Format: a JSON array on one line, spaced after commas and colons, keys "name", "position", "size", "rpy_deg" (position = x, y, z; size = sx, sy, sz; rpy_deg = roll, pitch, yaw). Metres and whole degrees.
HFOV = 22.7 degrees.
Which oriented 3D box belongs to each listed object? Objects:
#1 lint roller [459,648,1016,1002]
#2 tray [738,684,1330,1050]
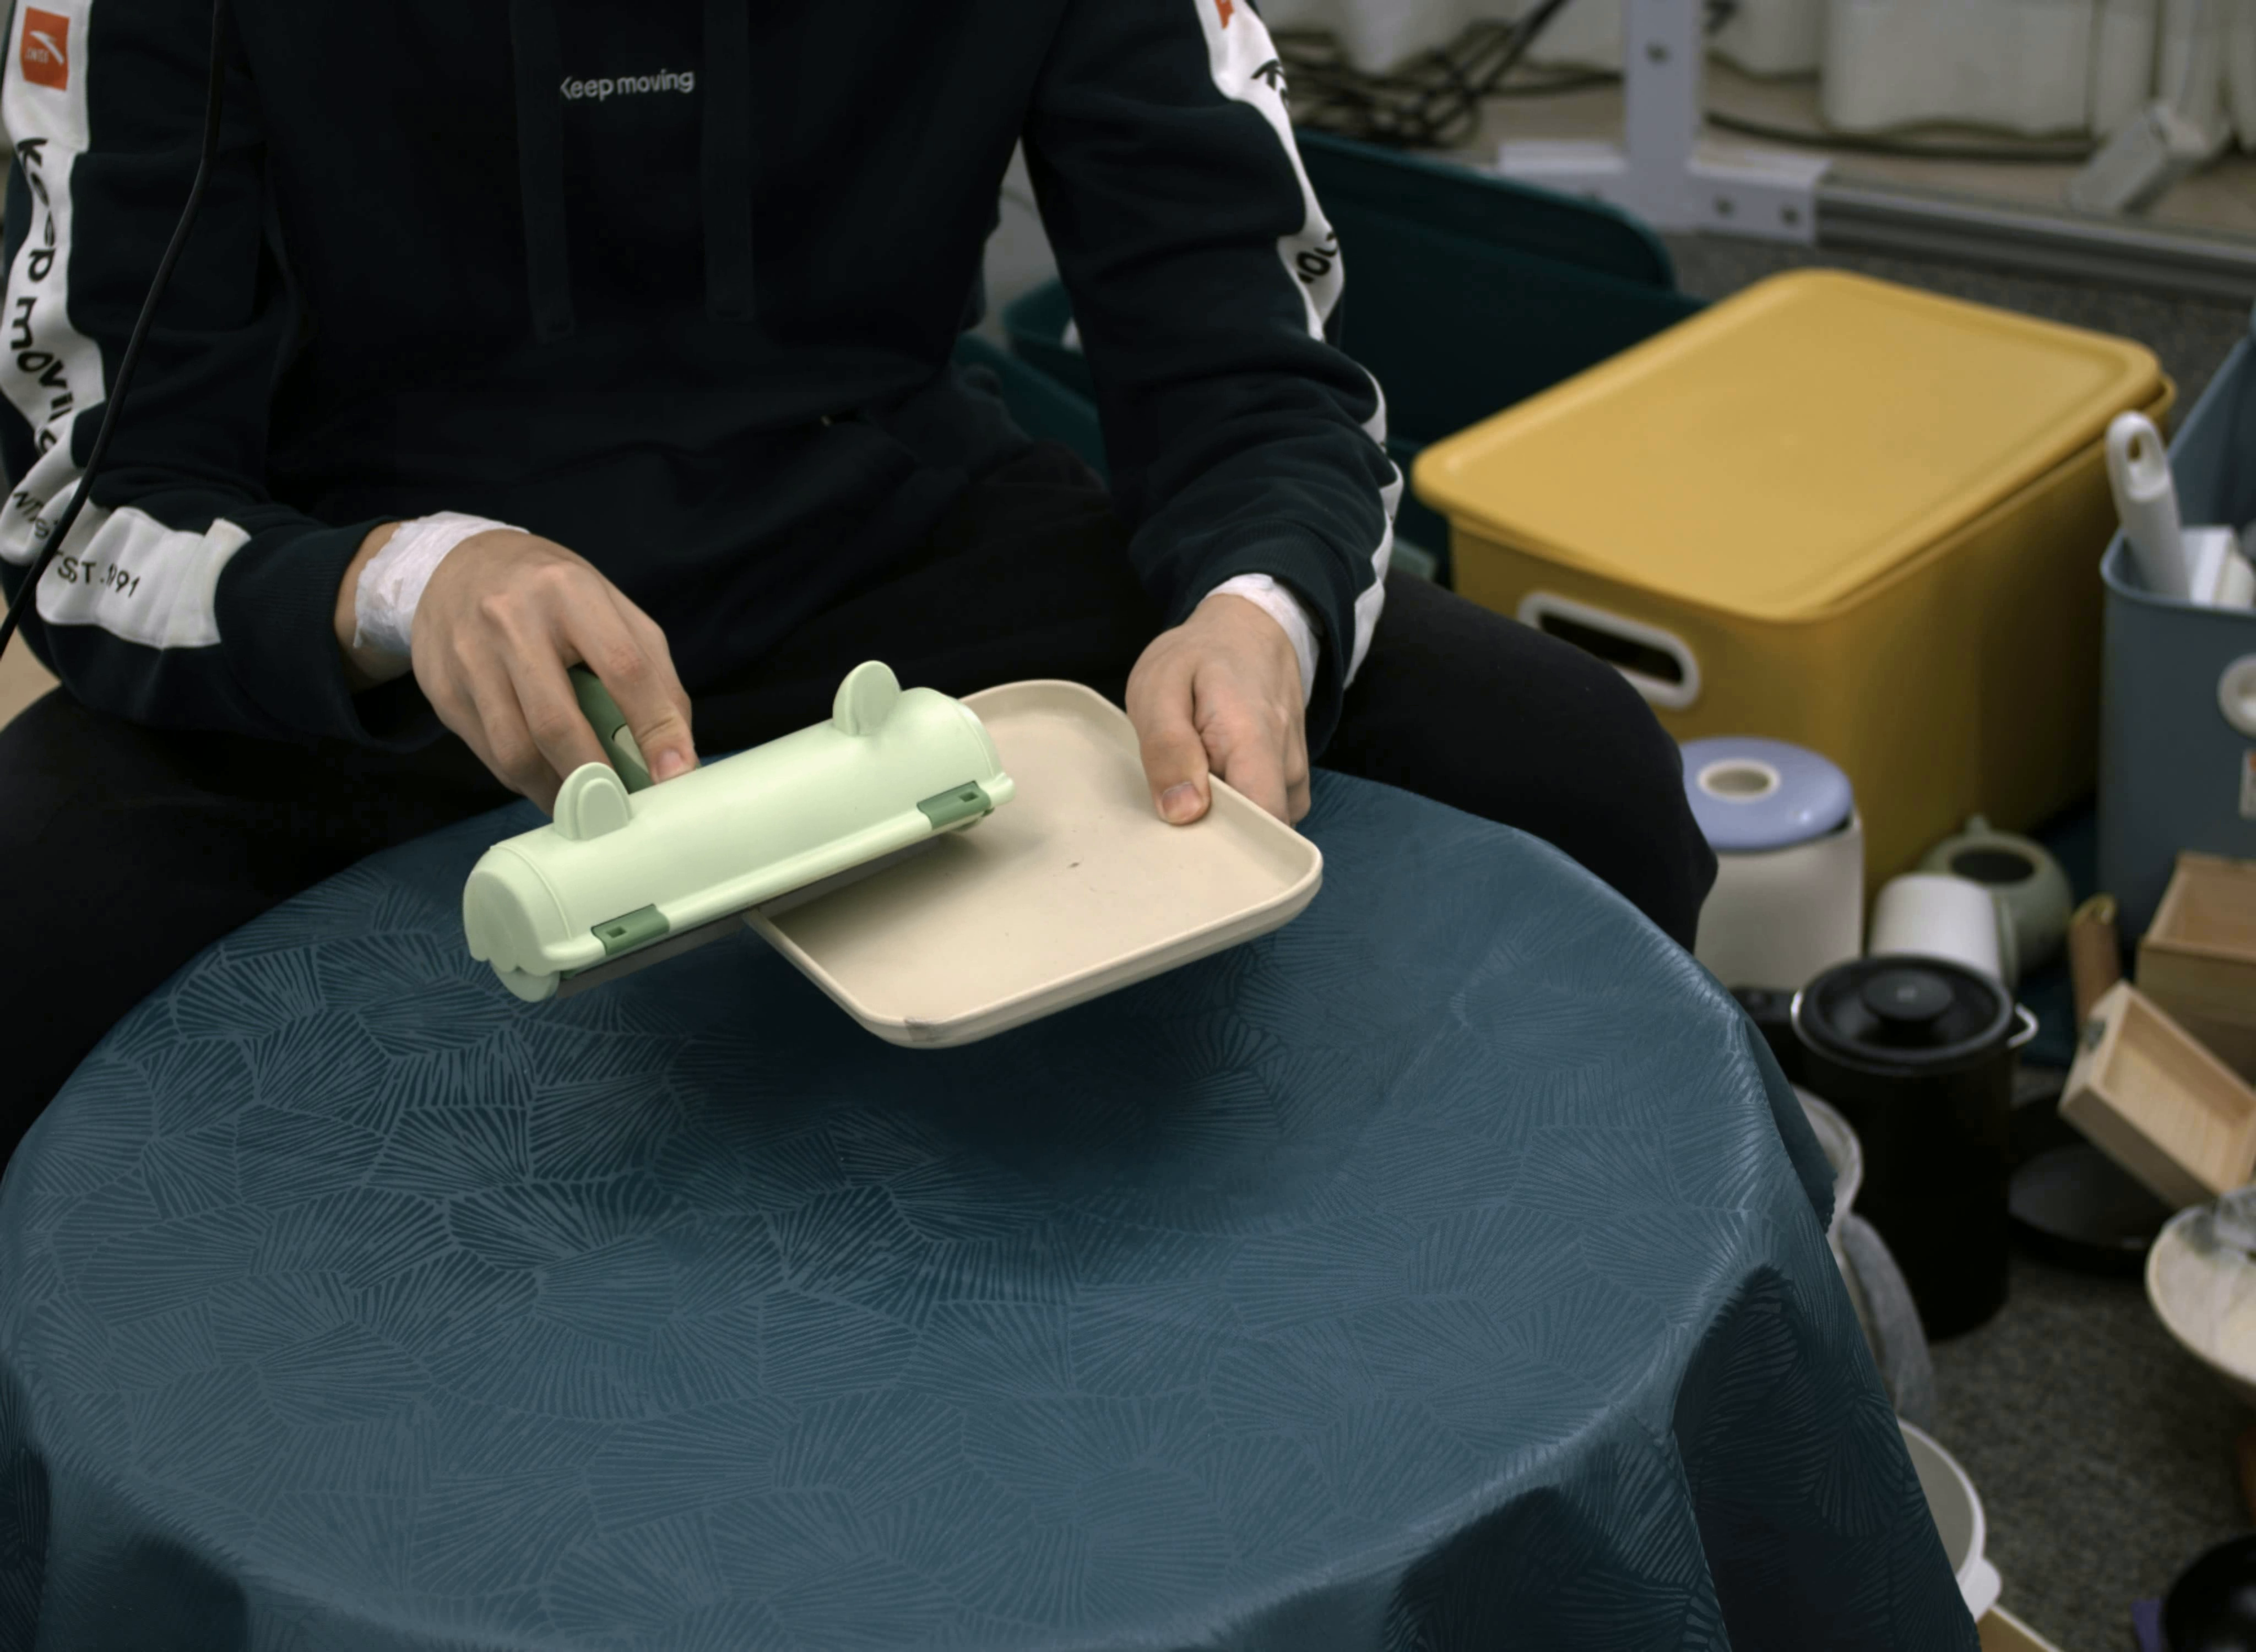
[{"name": "lint roller", "position": [-0.166, -0.031, 1.934], "size": [0.200, 0.081, 0.184], "rpy_deg": [-21, 47, -34]}, {"name": "tray", "position": [-0.048, 0.013, 1.932], "size": [0.172, 0.017, 0.240], "rpy_deg": [-19, 26, -20]}]
